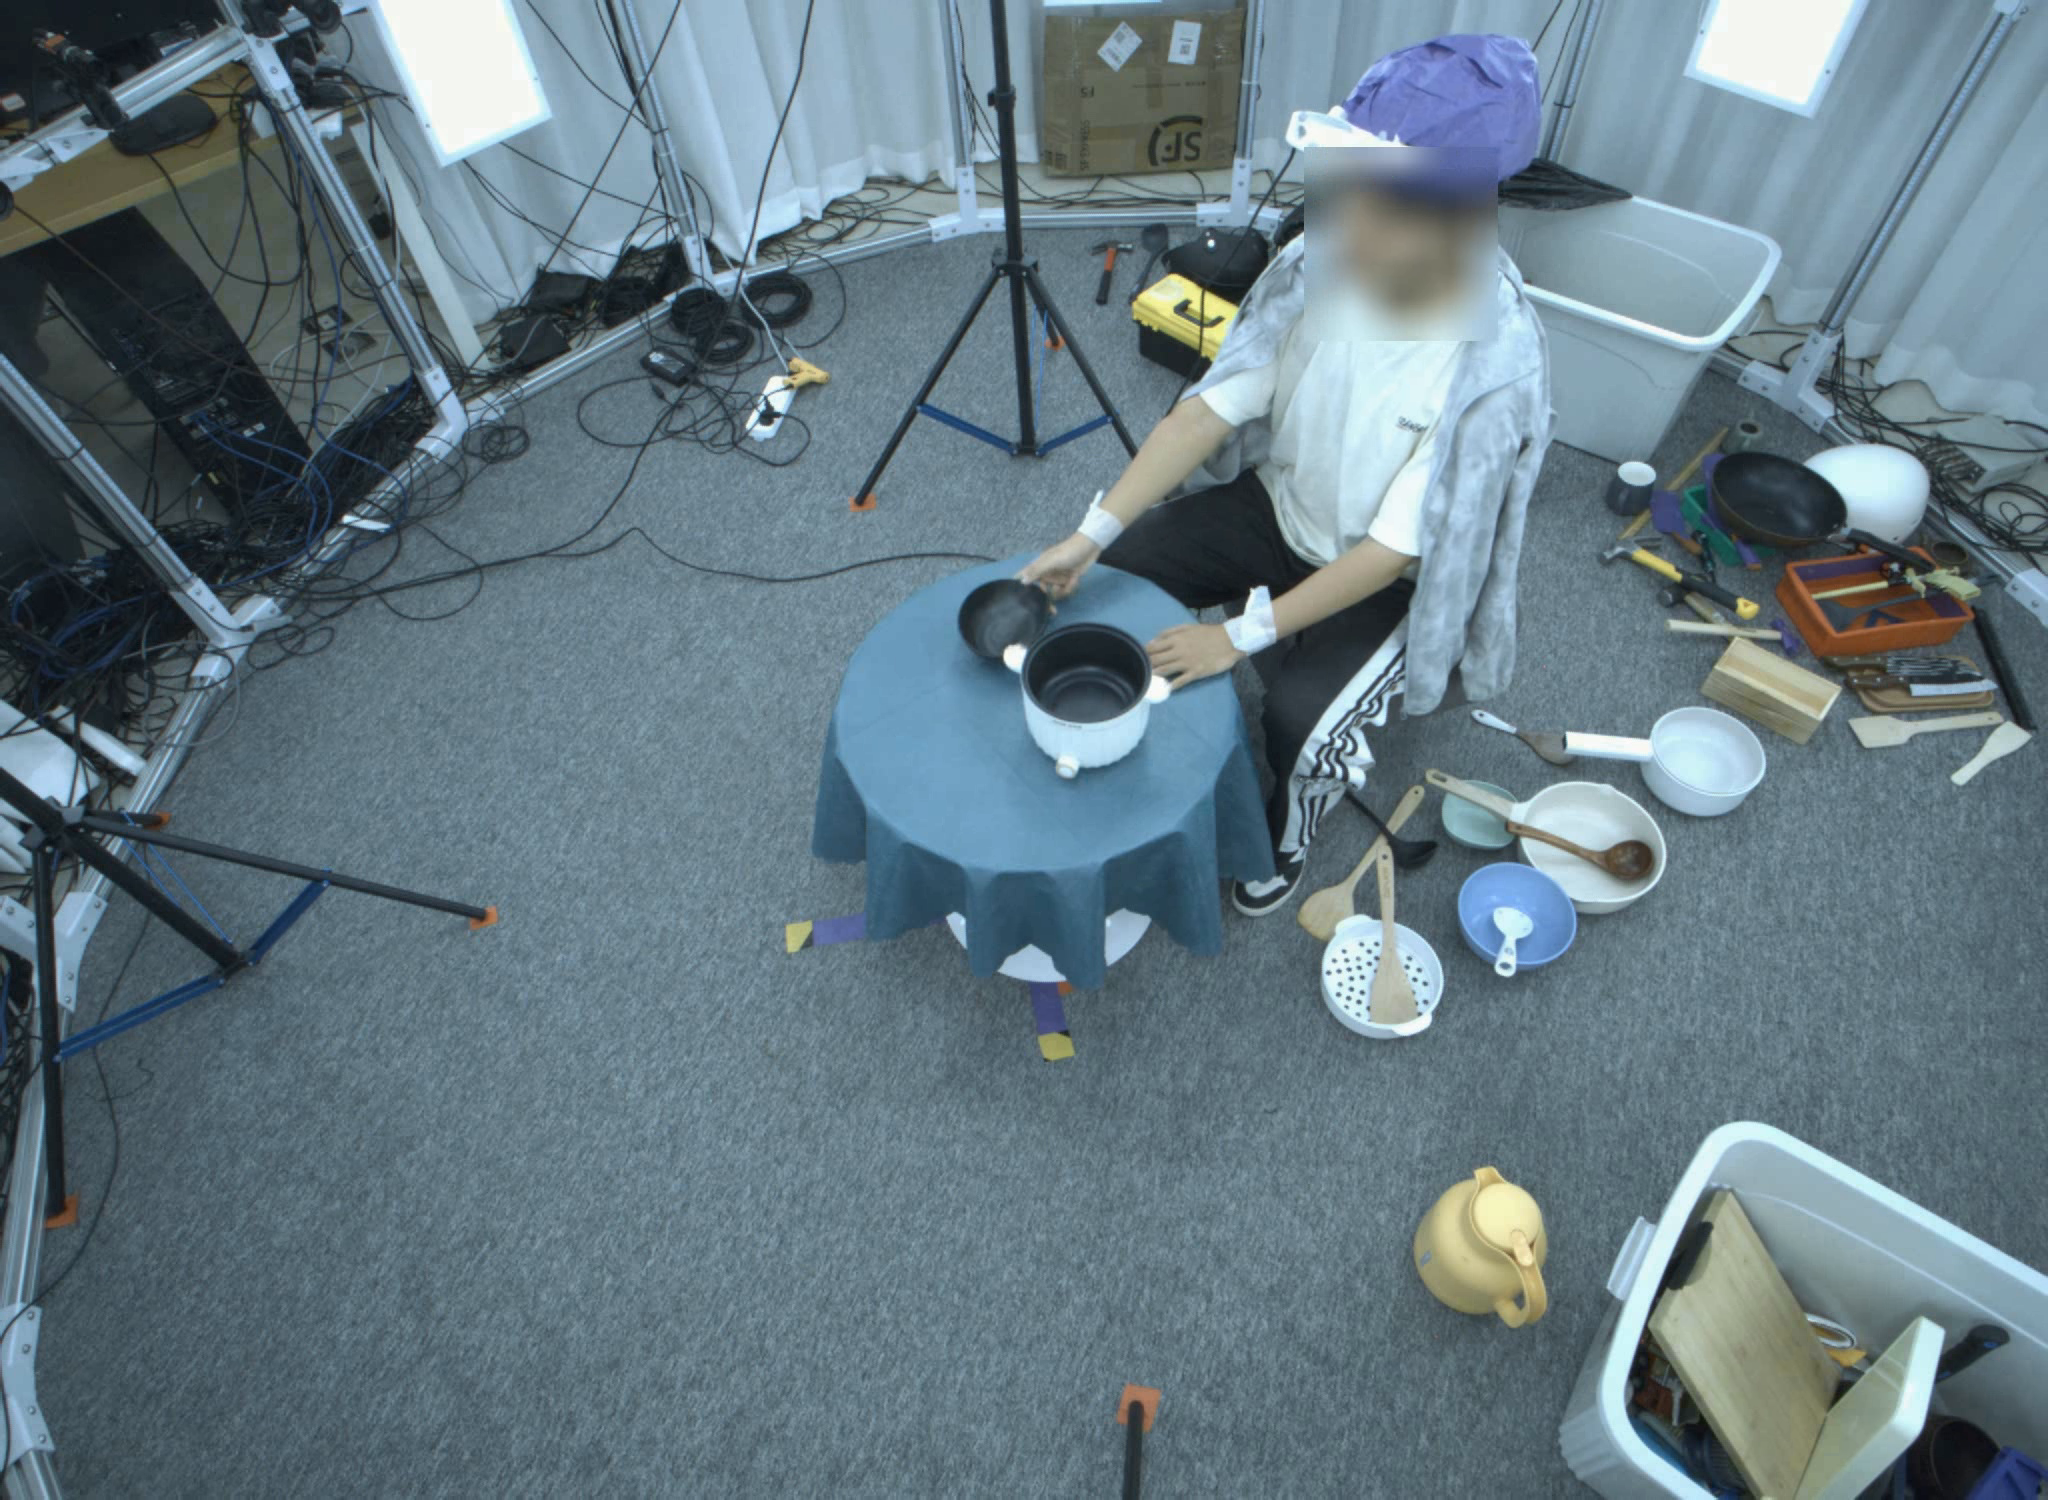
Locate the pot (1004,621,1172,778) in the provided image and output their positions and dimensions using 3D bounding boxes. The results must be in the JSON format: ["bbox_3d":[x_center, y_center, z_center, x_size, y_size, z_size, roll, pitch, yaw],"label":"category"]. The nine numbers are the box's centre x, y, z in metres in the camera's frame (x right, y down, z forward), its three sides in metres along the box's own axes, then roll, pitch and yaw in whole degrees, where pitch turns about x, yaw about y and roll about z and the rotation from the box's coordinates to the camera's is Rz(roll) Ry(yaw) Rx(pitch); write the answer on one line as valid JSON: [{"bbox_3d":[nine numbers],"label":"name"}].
[{"bbox_3d":[0.089,-0.067,1.749,0.238,0.144,0.190,13,53,12],"label":"pot"}]

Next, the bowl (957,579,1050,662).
[{"bbox_3d":[-0.030,-0.191,1.886,0.136,0.067,0.170,15,56,10],"label":"bowl"}]
